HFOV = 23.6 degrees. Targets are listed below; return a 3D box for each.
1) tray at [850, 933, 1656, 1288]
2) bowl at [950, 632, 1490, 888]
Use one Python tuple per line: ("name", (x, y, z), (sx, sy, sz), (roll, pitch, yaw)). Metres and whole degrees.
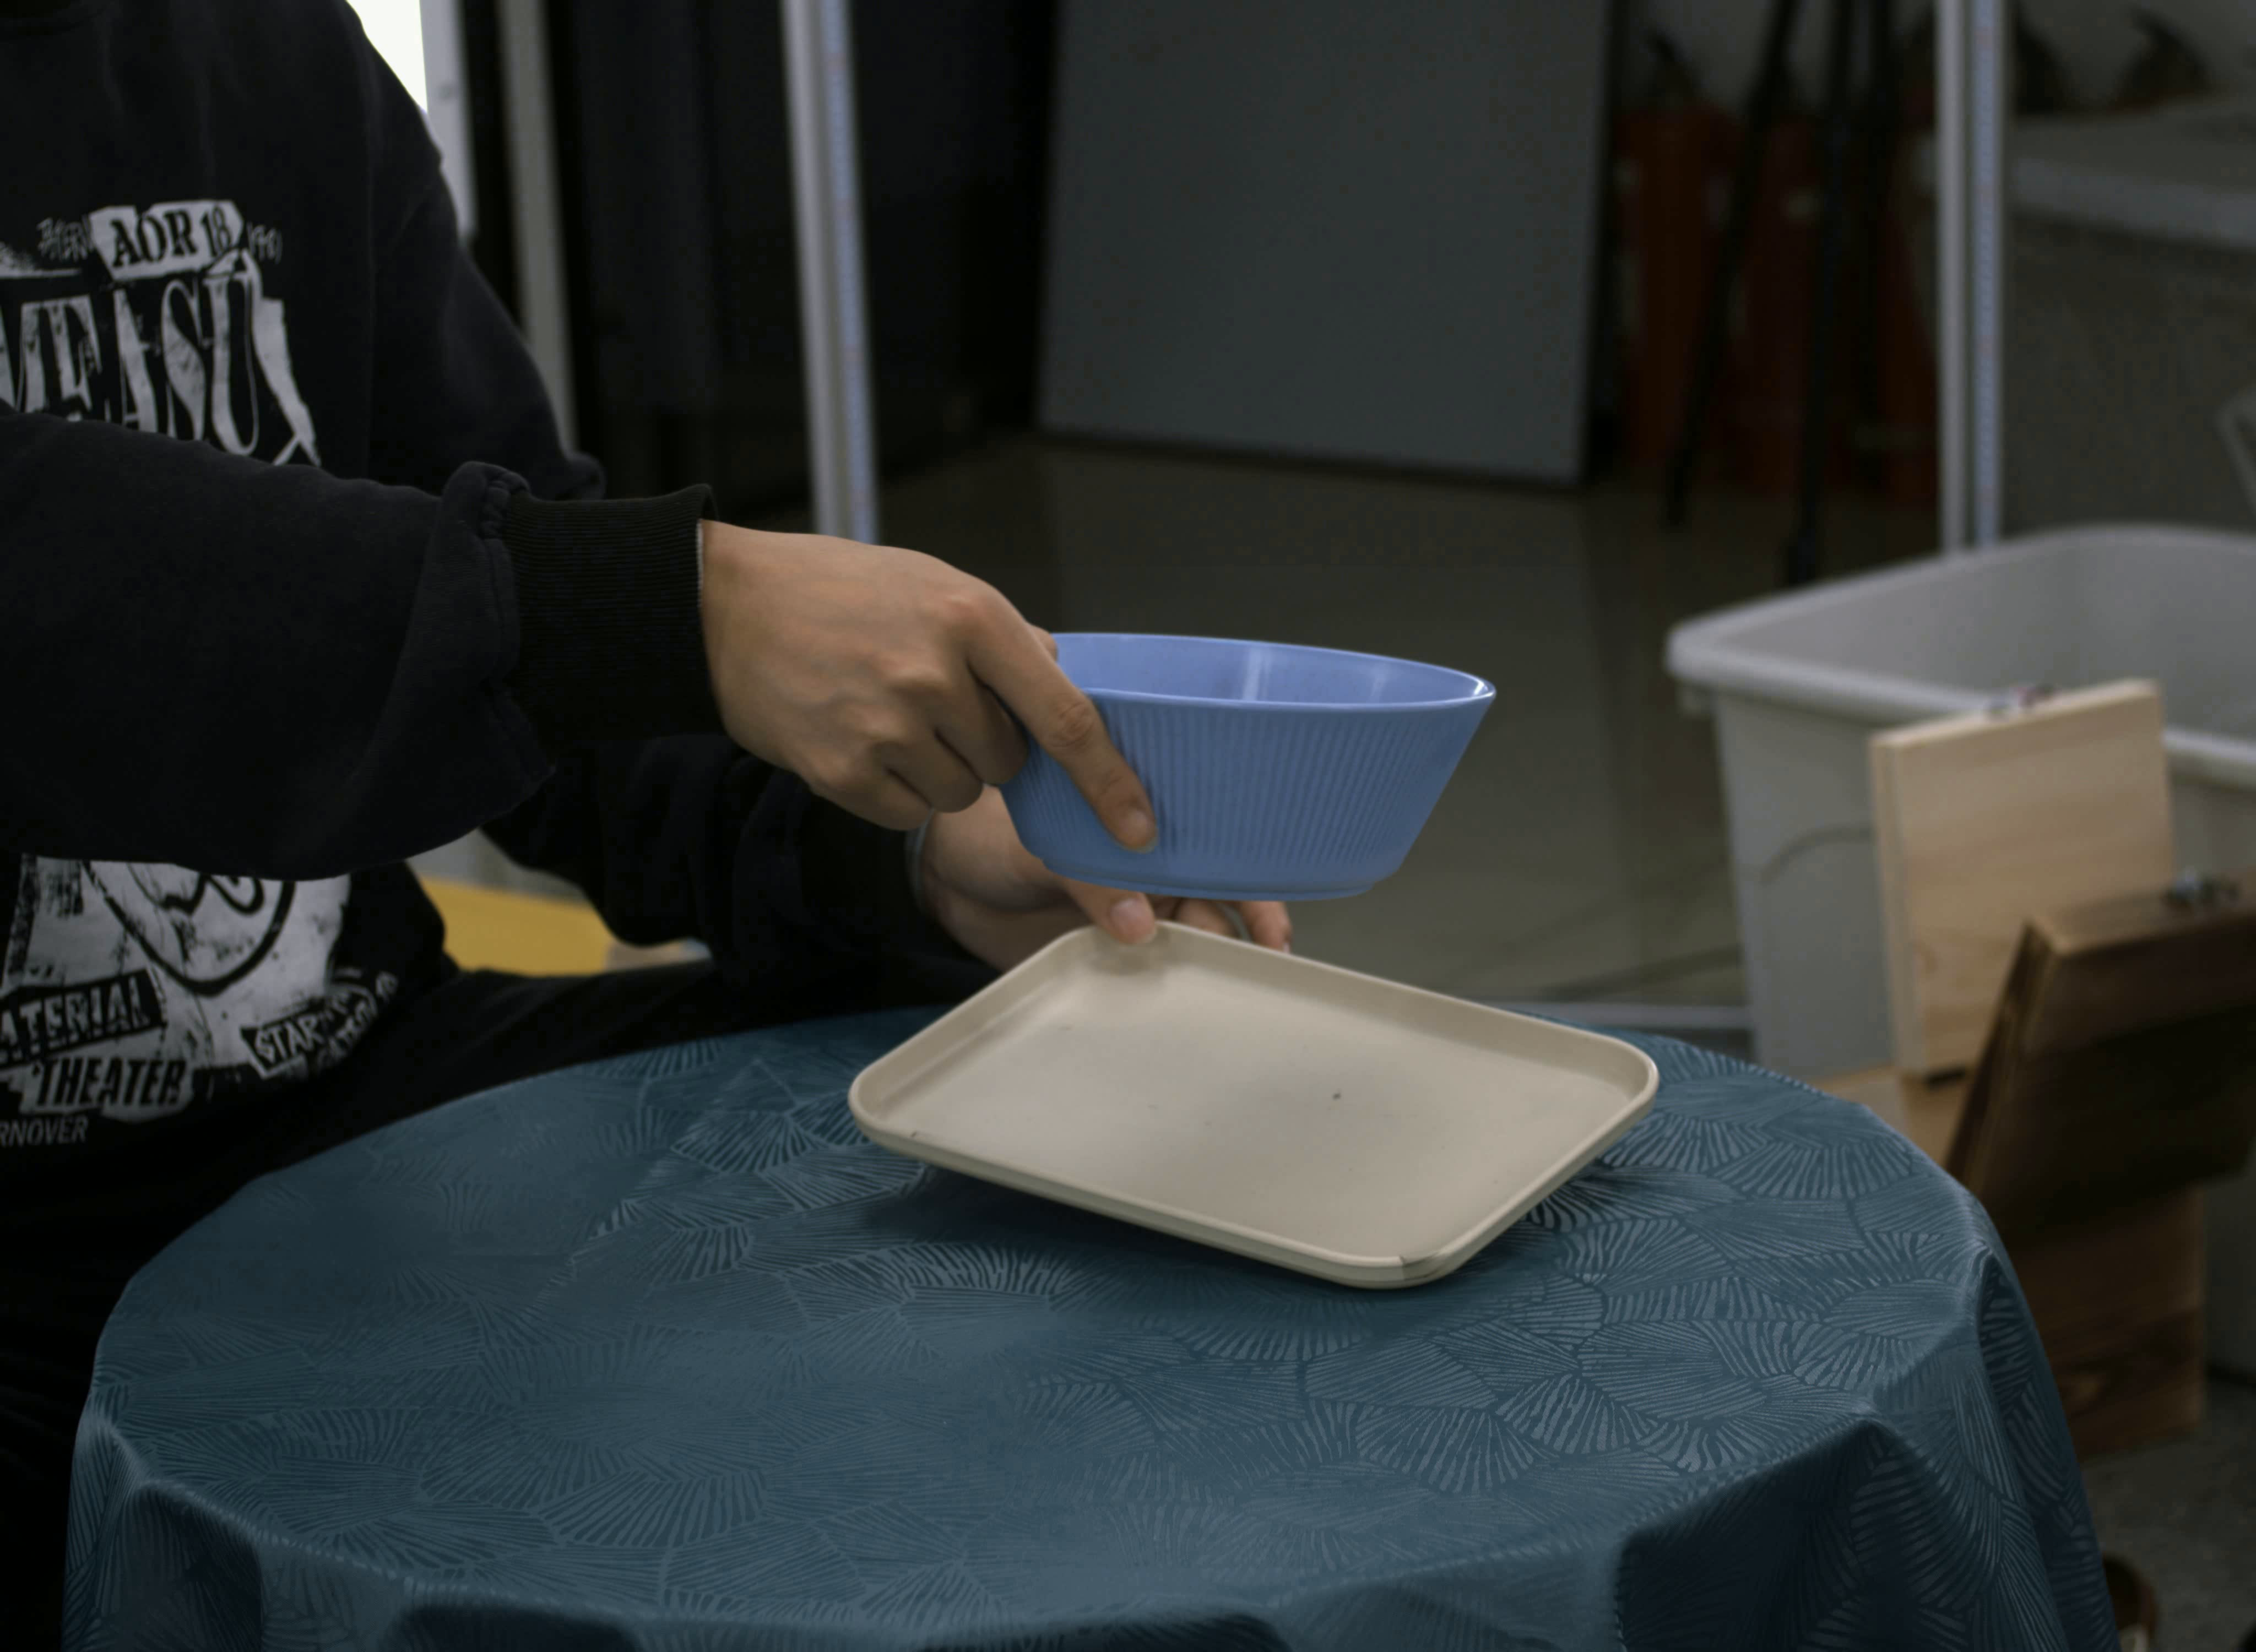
("tray", (0.041, 0.092, 1.764), (0.241, 0.017, 0.168), (12, 29, 35))
("bowl", (0.027, -0.021, 1.724), (0.173, 0.071, 0.176), (4, 7, -1))
